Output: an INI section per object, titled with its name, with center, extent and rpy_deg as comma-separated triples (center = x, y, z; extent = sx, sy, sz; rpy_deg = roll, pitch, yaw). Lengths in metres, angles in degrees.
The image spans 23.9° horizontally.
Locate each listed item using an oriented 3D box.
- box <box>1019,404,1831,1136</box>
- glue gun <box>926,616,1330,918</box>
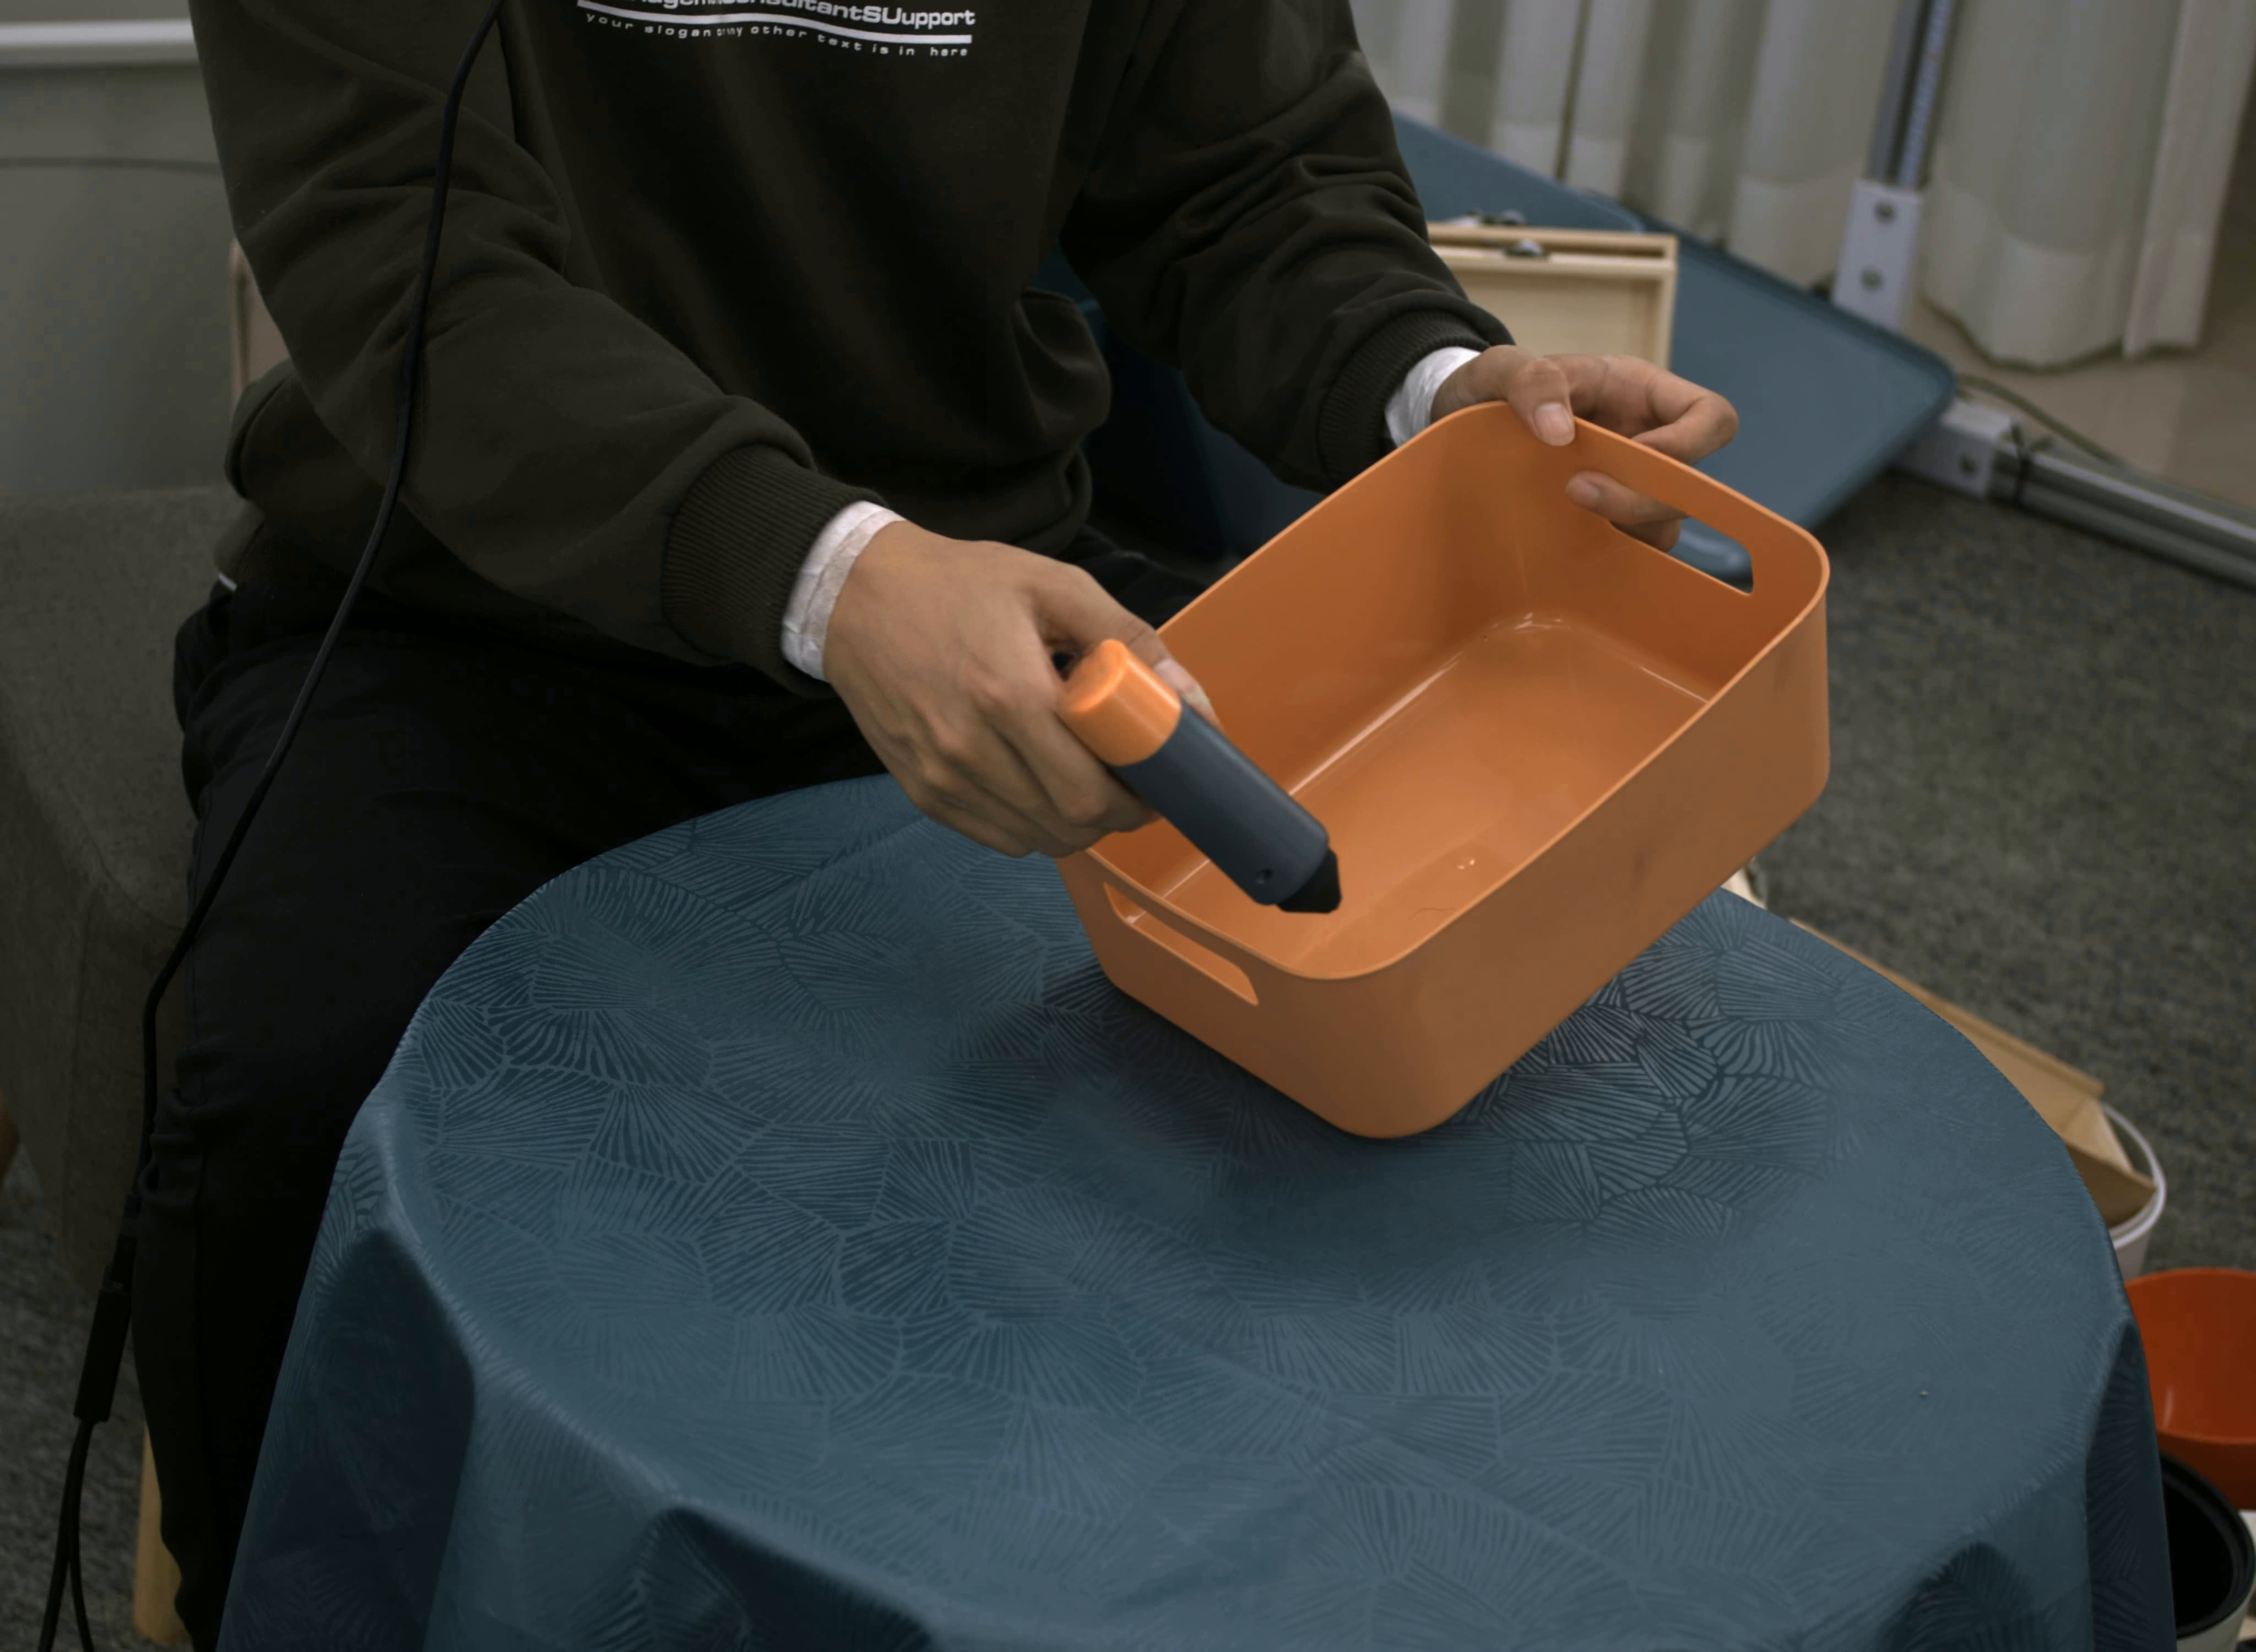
[box]
center = 0.113, -0.019, 1.917
extent = 0.273, 0.102, 0.201
rpy_deg = -39, 46, -24
[glue gun]
center = 0.000, -0.021, 1.799
extent = 0.041, 0.117, 0.141
rpy_deg = -51, 36, -12
